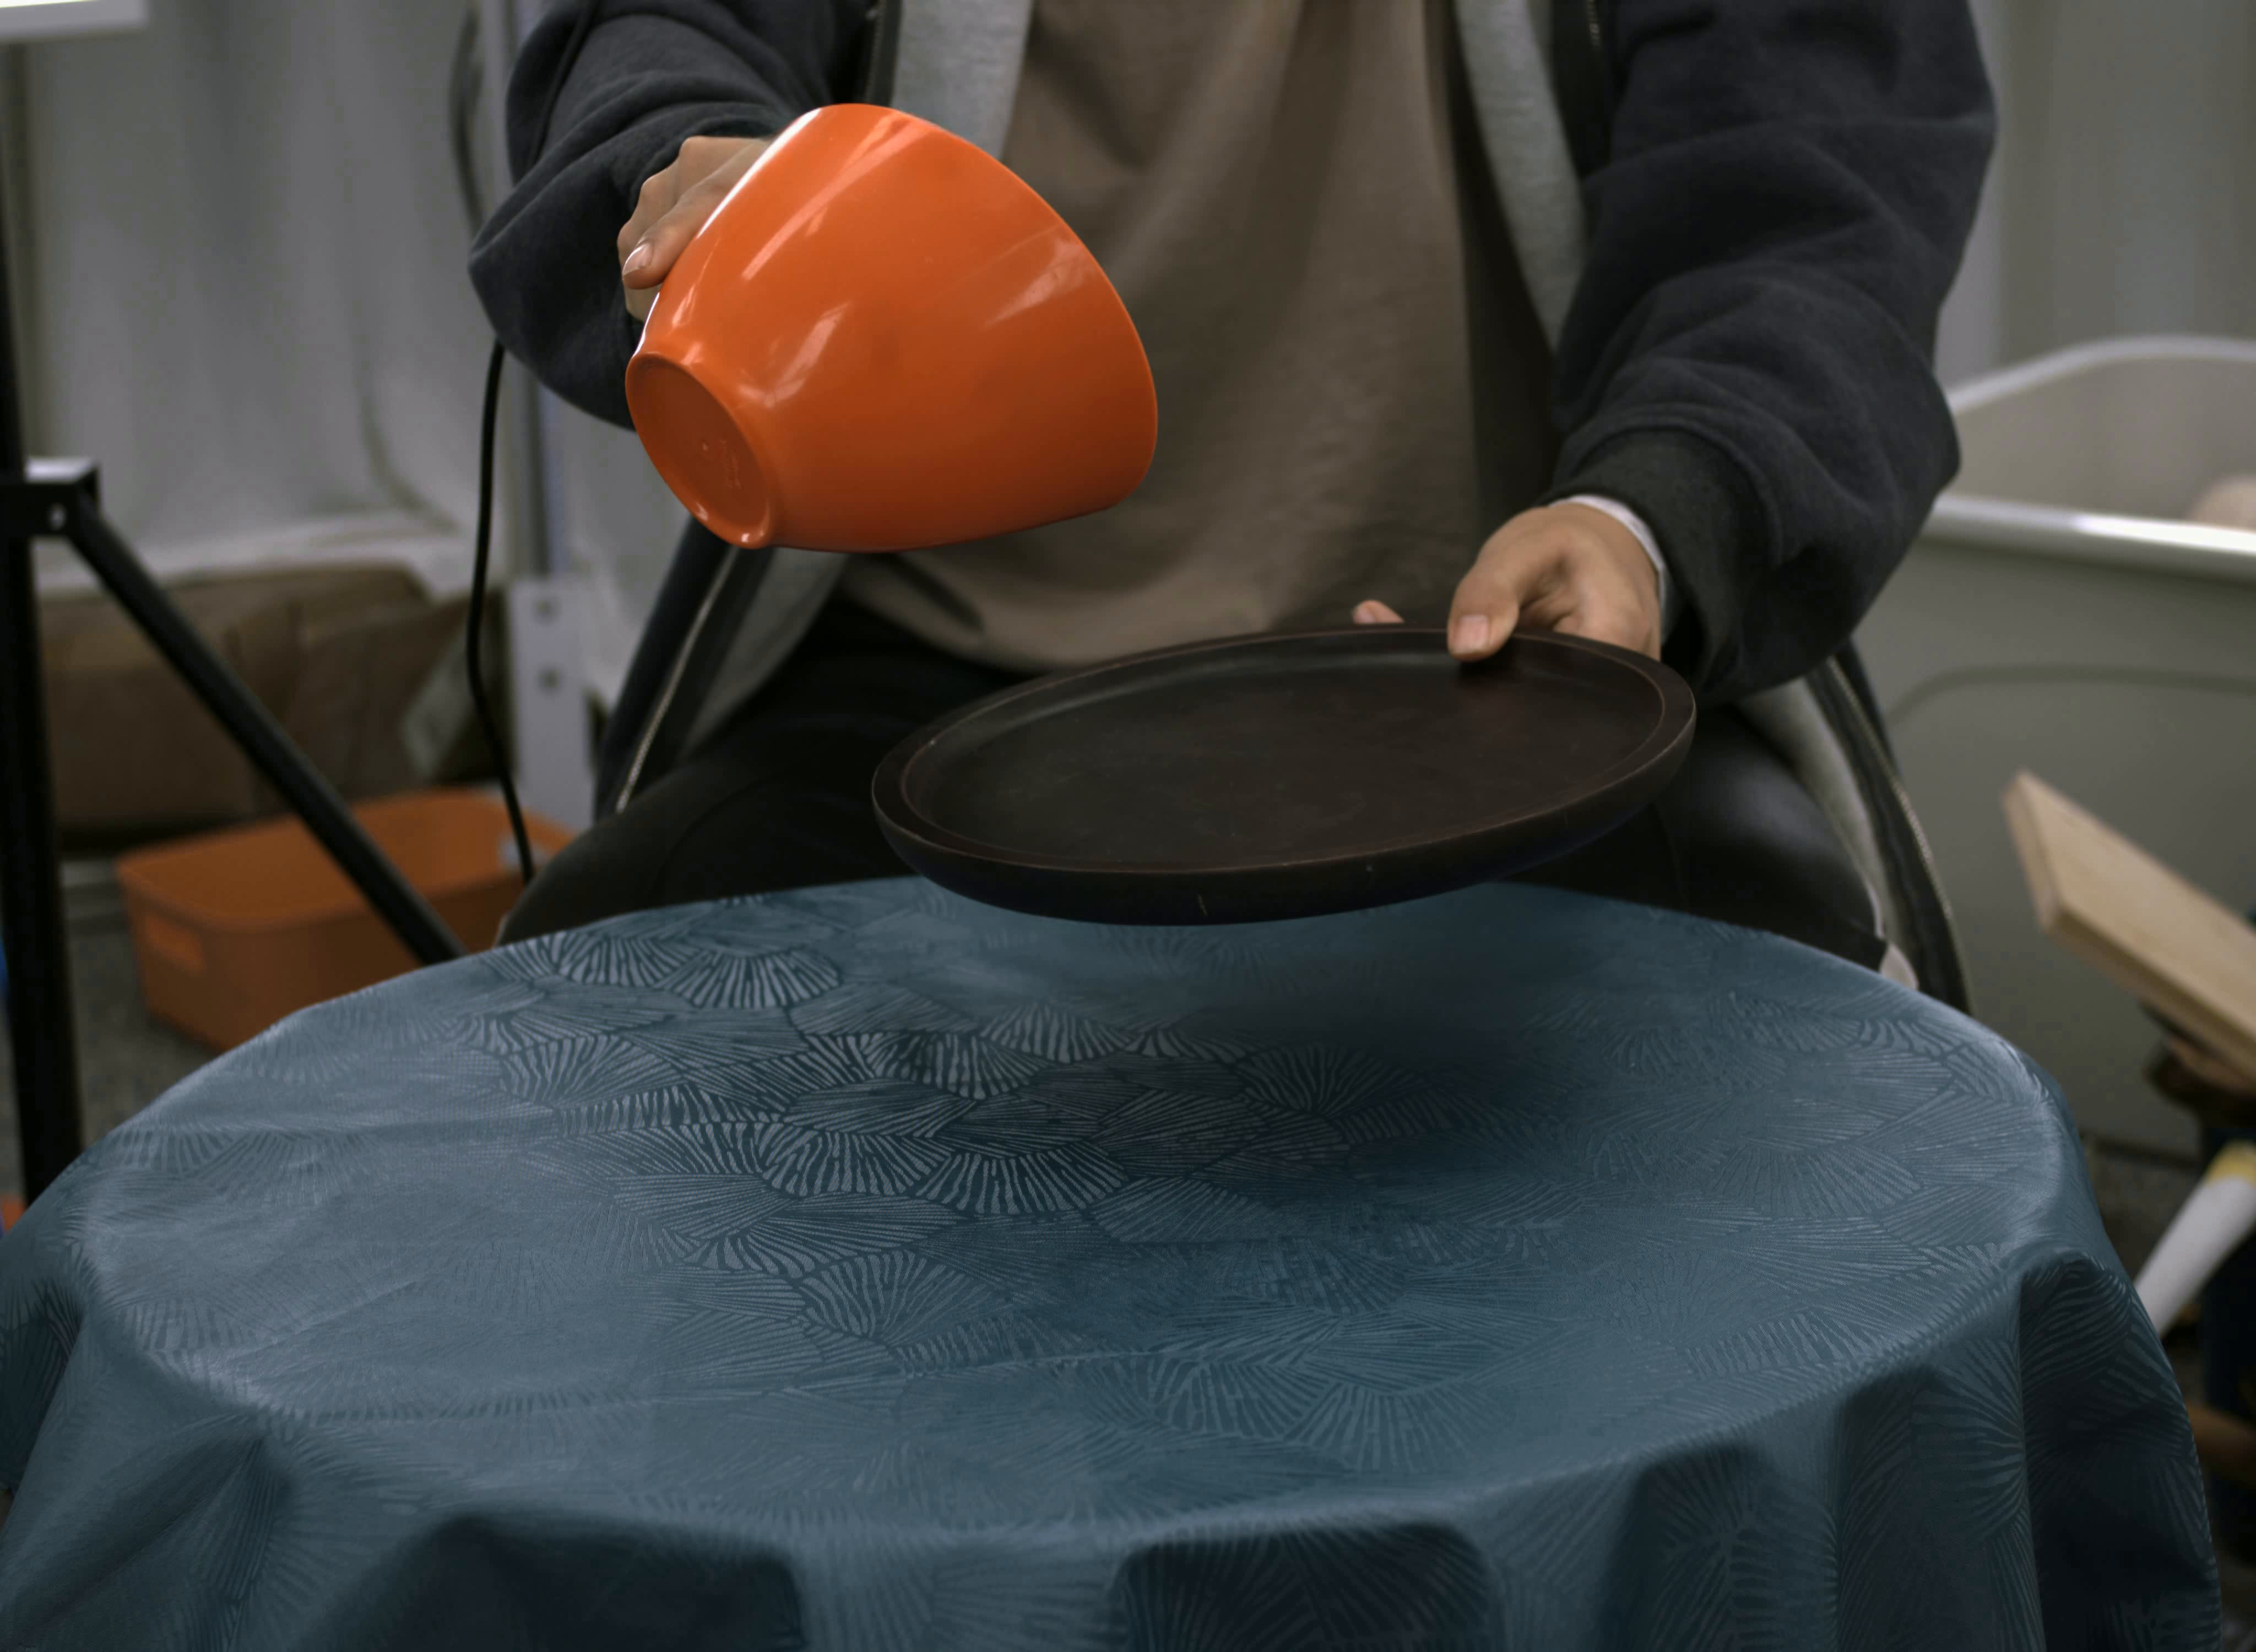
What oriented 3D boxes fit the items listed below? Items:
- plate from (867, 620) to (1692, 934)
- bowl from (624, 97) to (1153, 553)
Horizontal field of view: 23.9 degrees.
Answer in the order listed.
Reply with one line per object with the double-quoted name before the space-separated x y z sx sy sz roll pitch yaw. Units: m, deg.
"plate" 0.047 -0.017 1.623 0.254 0.029 0.256 -9 17 1
"bowl" -0.080 -0.131 1.565 0.103 0.146 0.151 -36 30 -24
